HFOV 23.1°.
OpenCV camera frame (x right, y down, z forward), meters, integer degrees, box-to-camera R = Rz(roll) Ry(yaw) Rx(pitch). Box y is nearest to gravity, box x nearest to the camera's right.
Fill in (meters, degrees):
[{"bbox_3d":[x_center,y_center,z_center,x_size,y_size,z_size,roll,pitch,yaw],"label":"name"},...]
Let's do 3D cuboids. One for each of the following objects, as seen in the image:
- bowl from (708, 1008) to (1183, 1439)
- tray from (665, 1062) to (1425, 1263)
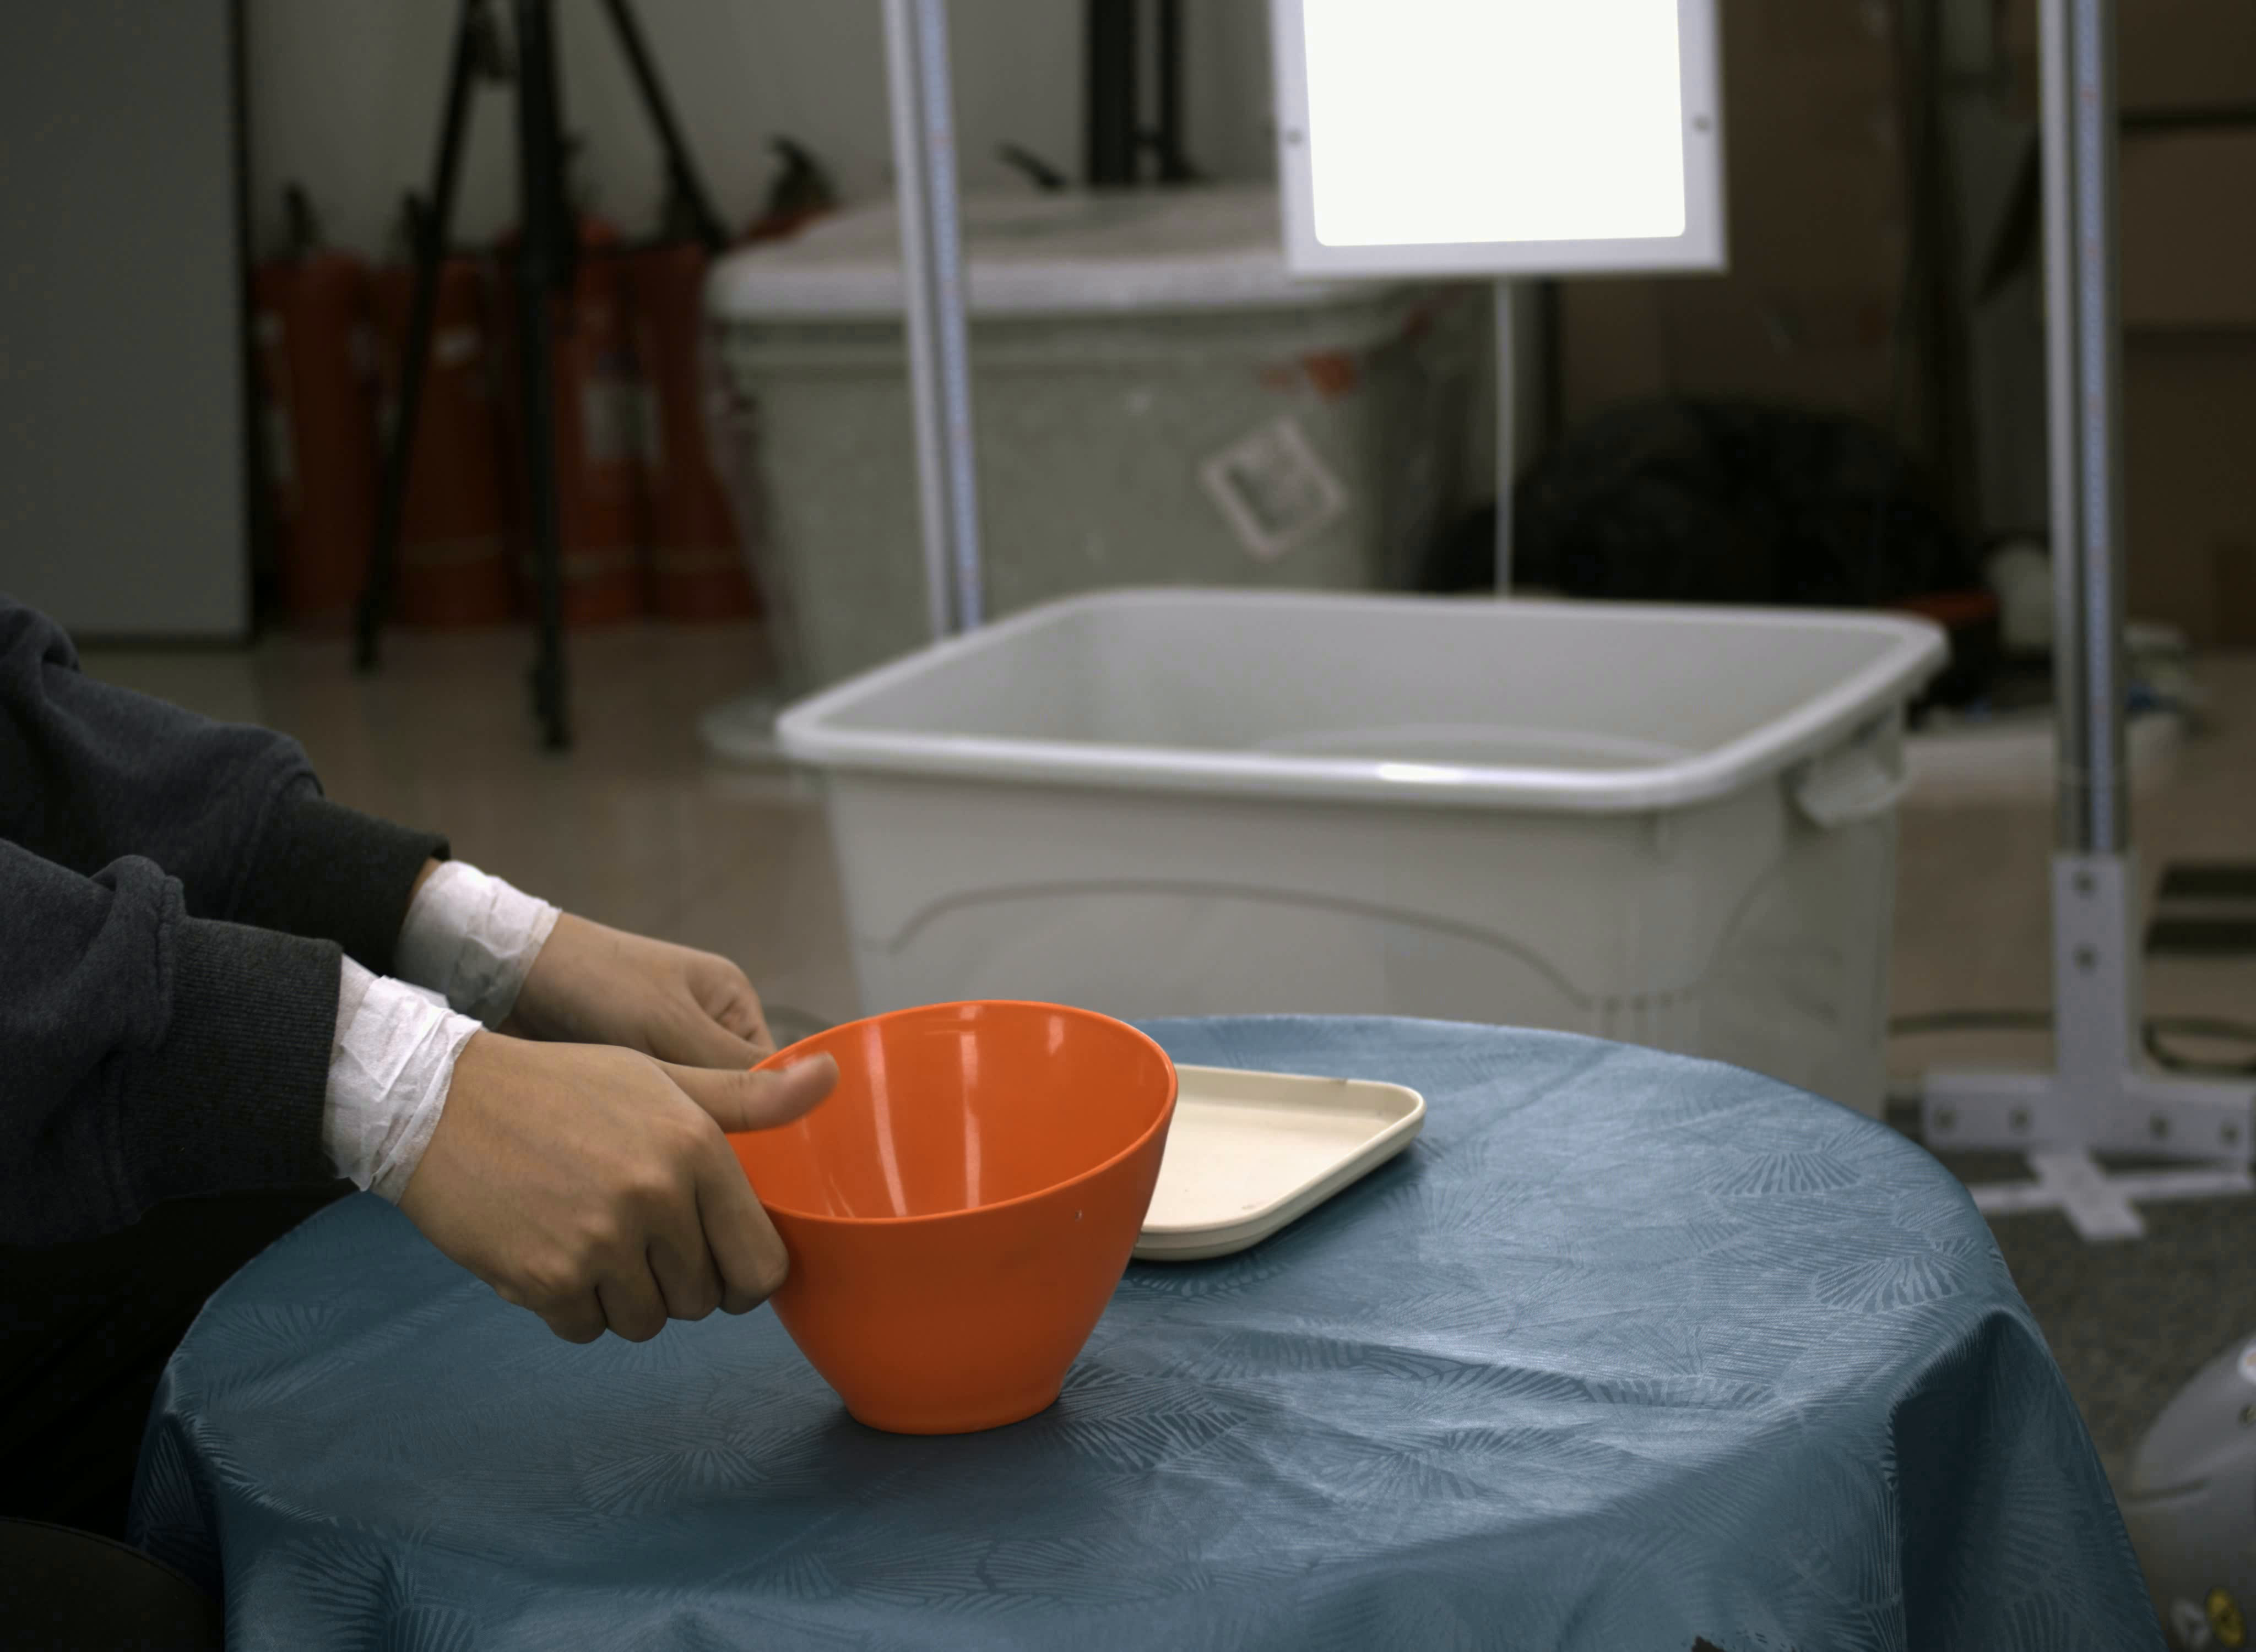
[{"bbox_3d":[-0.054,0.126,1.705,0.147,0.105,0.148,-3,13,-1],"label":"bowl"},{"bbox_3d":[-0.028,0.113,1.924,0.244,0.017,0.167,4,17,32],"label":"tray"}]
